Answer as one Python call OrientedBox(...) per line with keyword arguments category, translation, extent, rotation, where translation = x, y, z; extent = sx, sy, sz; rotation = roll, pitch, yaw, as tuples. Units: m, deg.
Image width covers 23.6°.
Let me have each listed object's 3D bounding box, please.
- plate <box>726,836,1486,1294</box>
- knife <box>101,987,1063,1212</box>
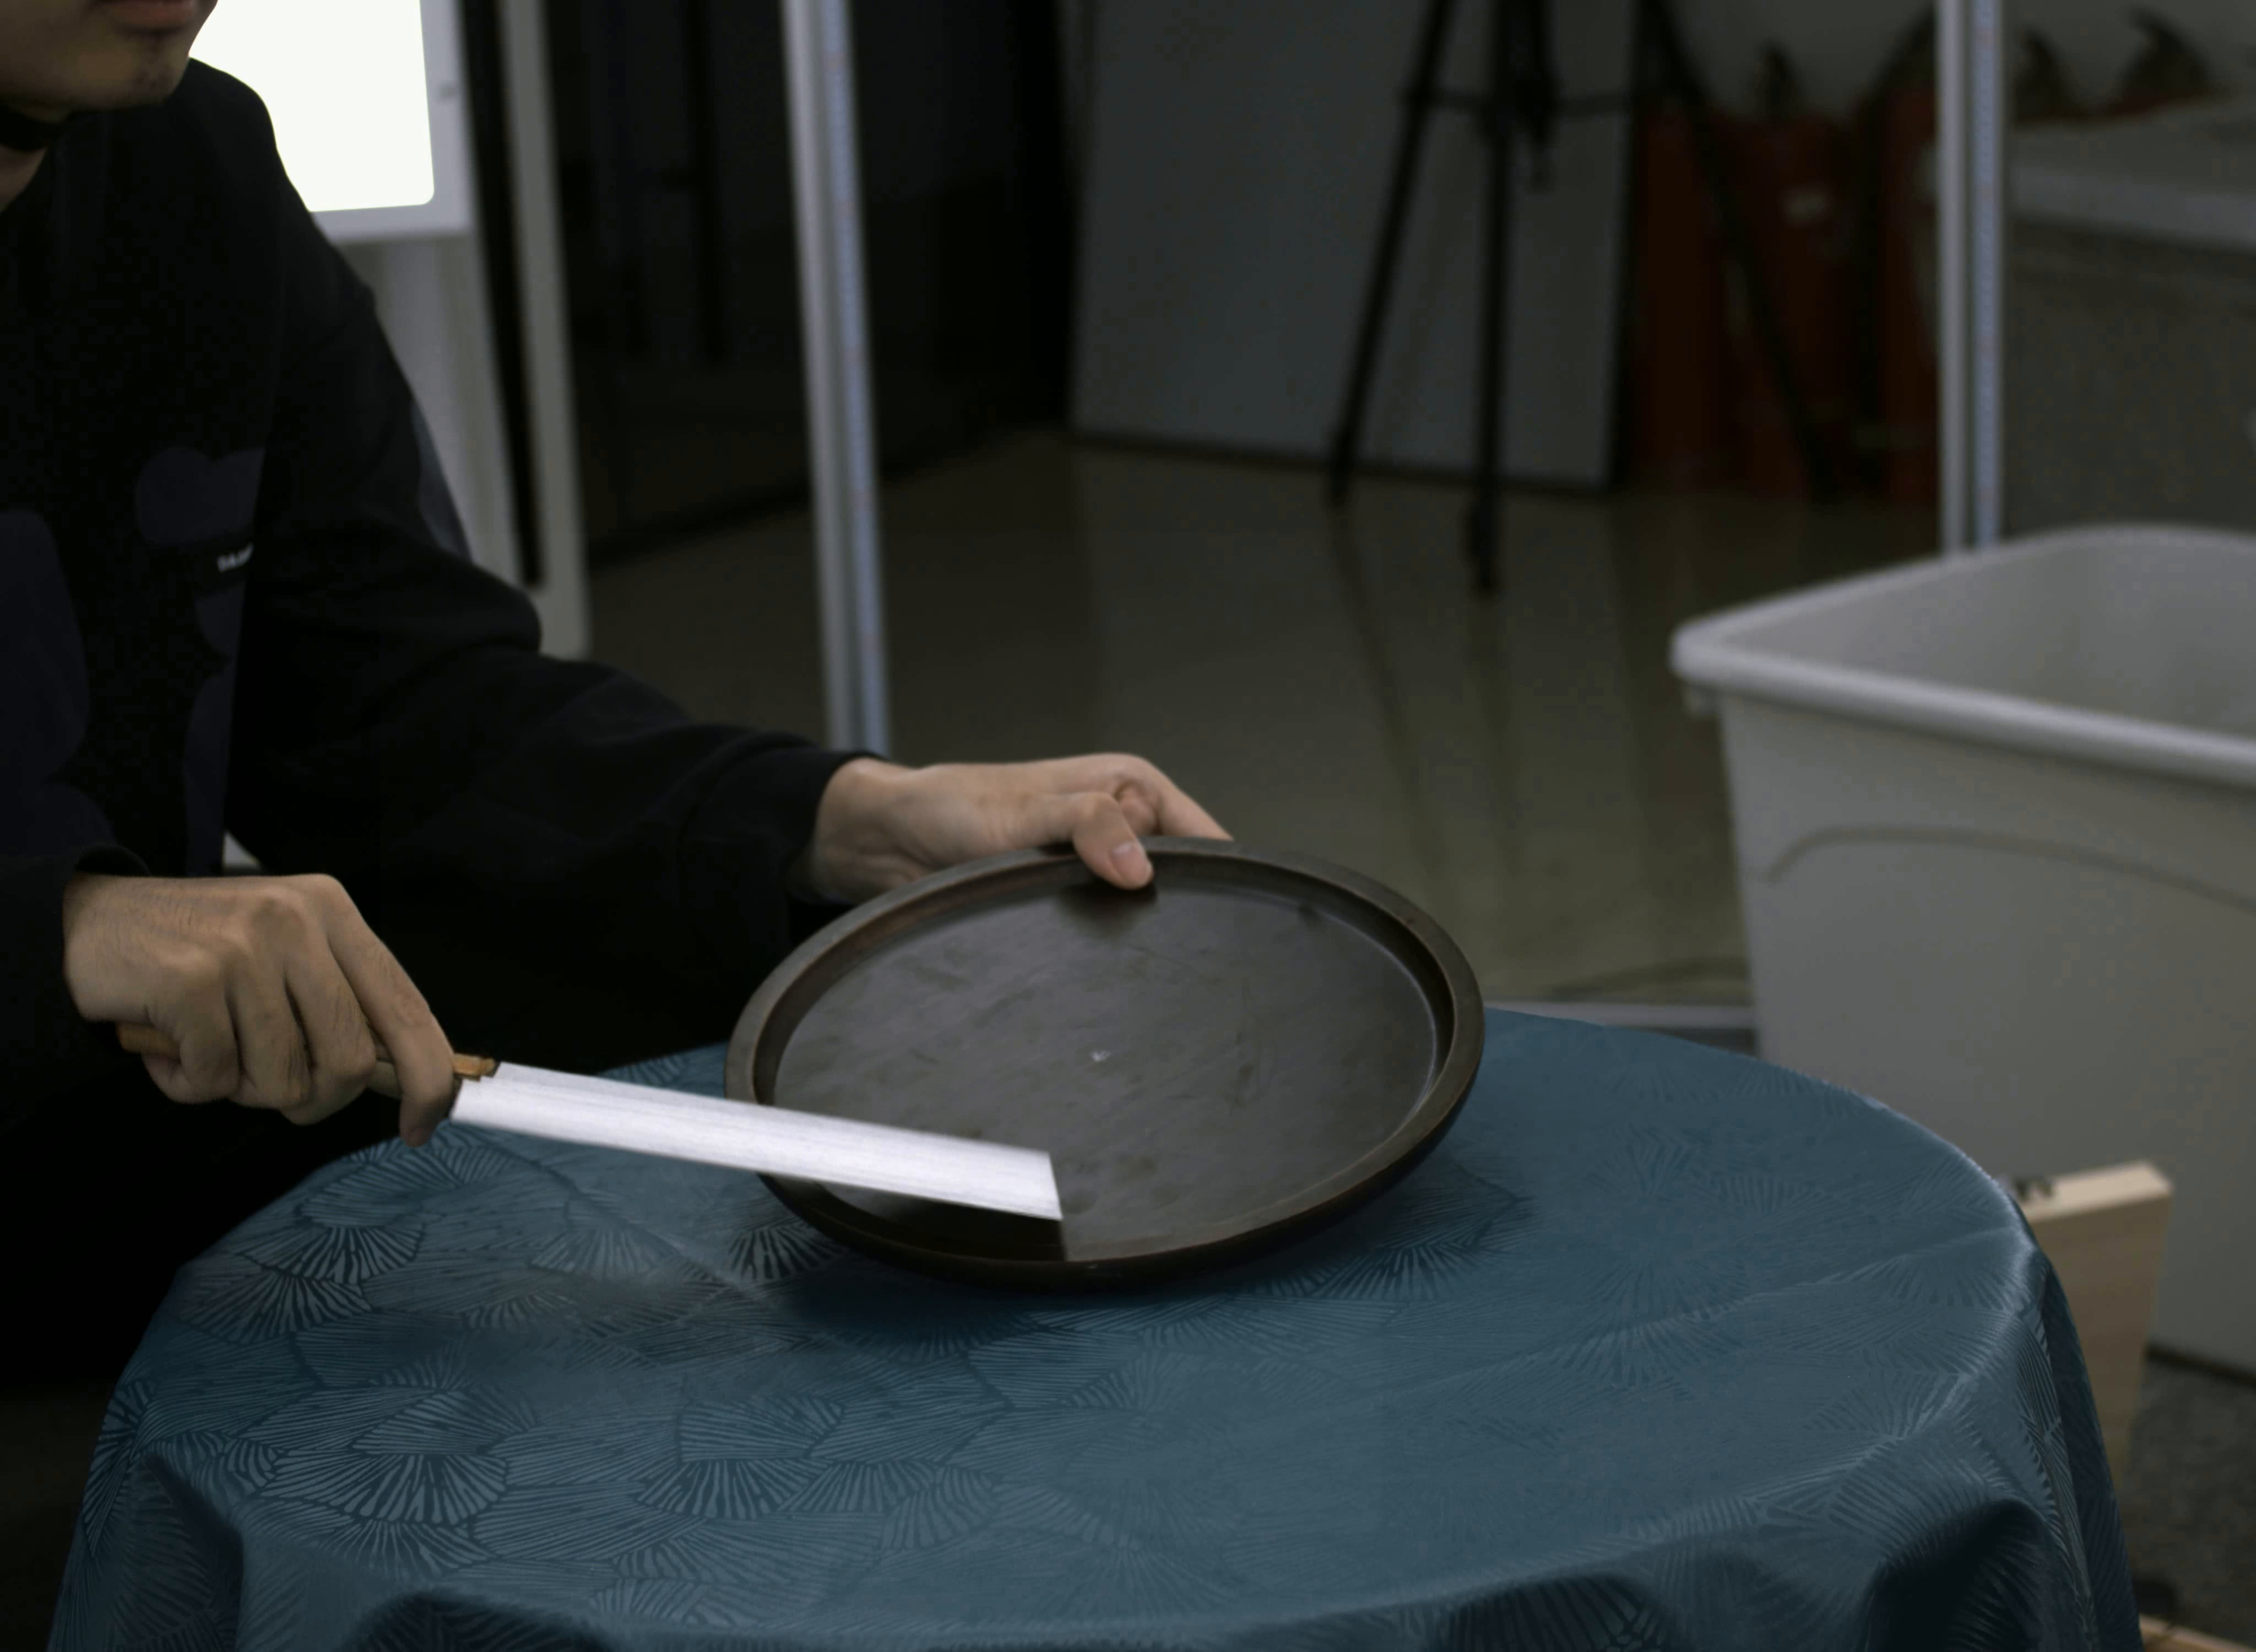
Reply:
OrientedBox(category="plate", translation=(-0.007, 0.076, 1.769), extent=(0.252, 0.029, 0.256), rotation=(-5, 29, 2))
OrientedBox(category="knife", translation=(-0.169, 0.089, 1.677), extent=(0.301, 0.021, 0.093), rotation=(9, 12, -5))
